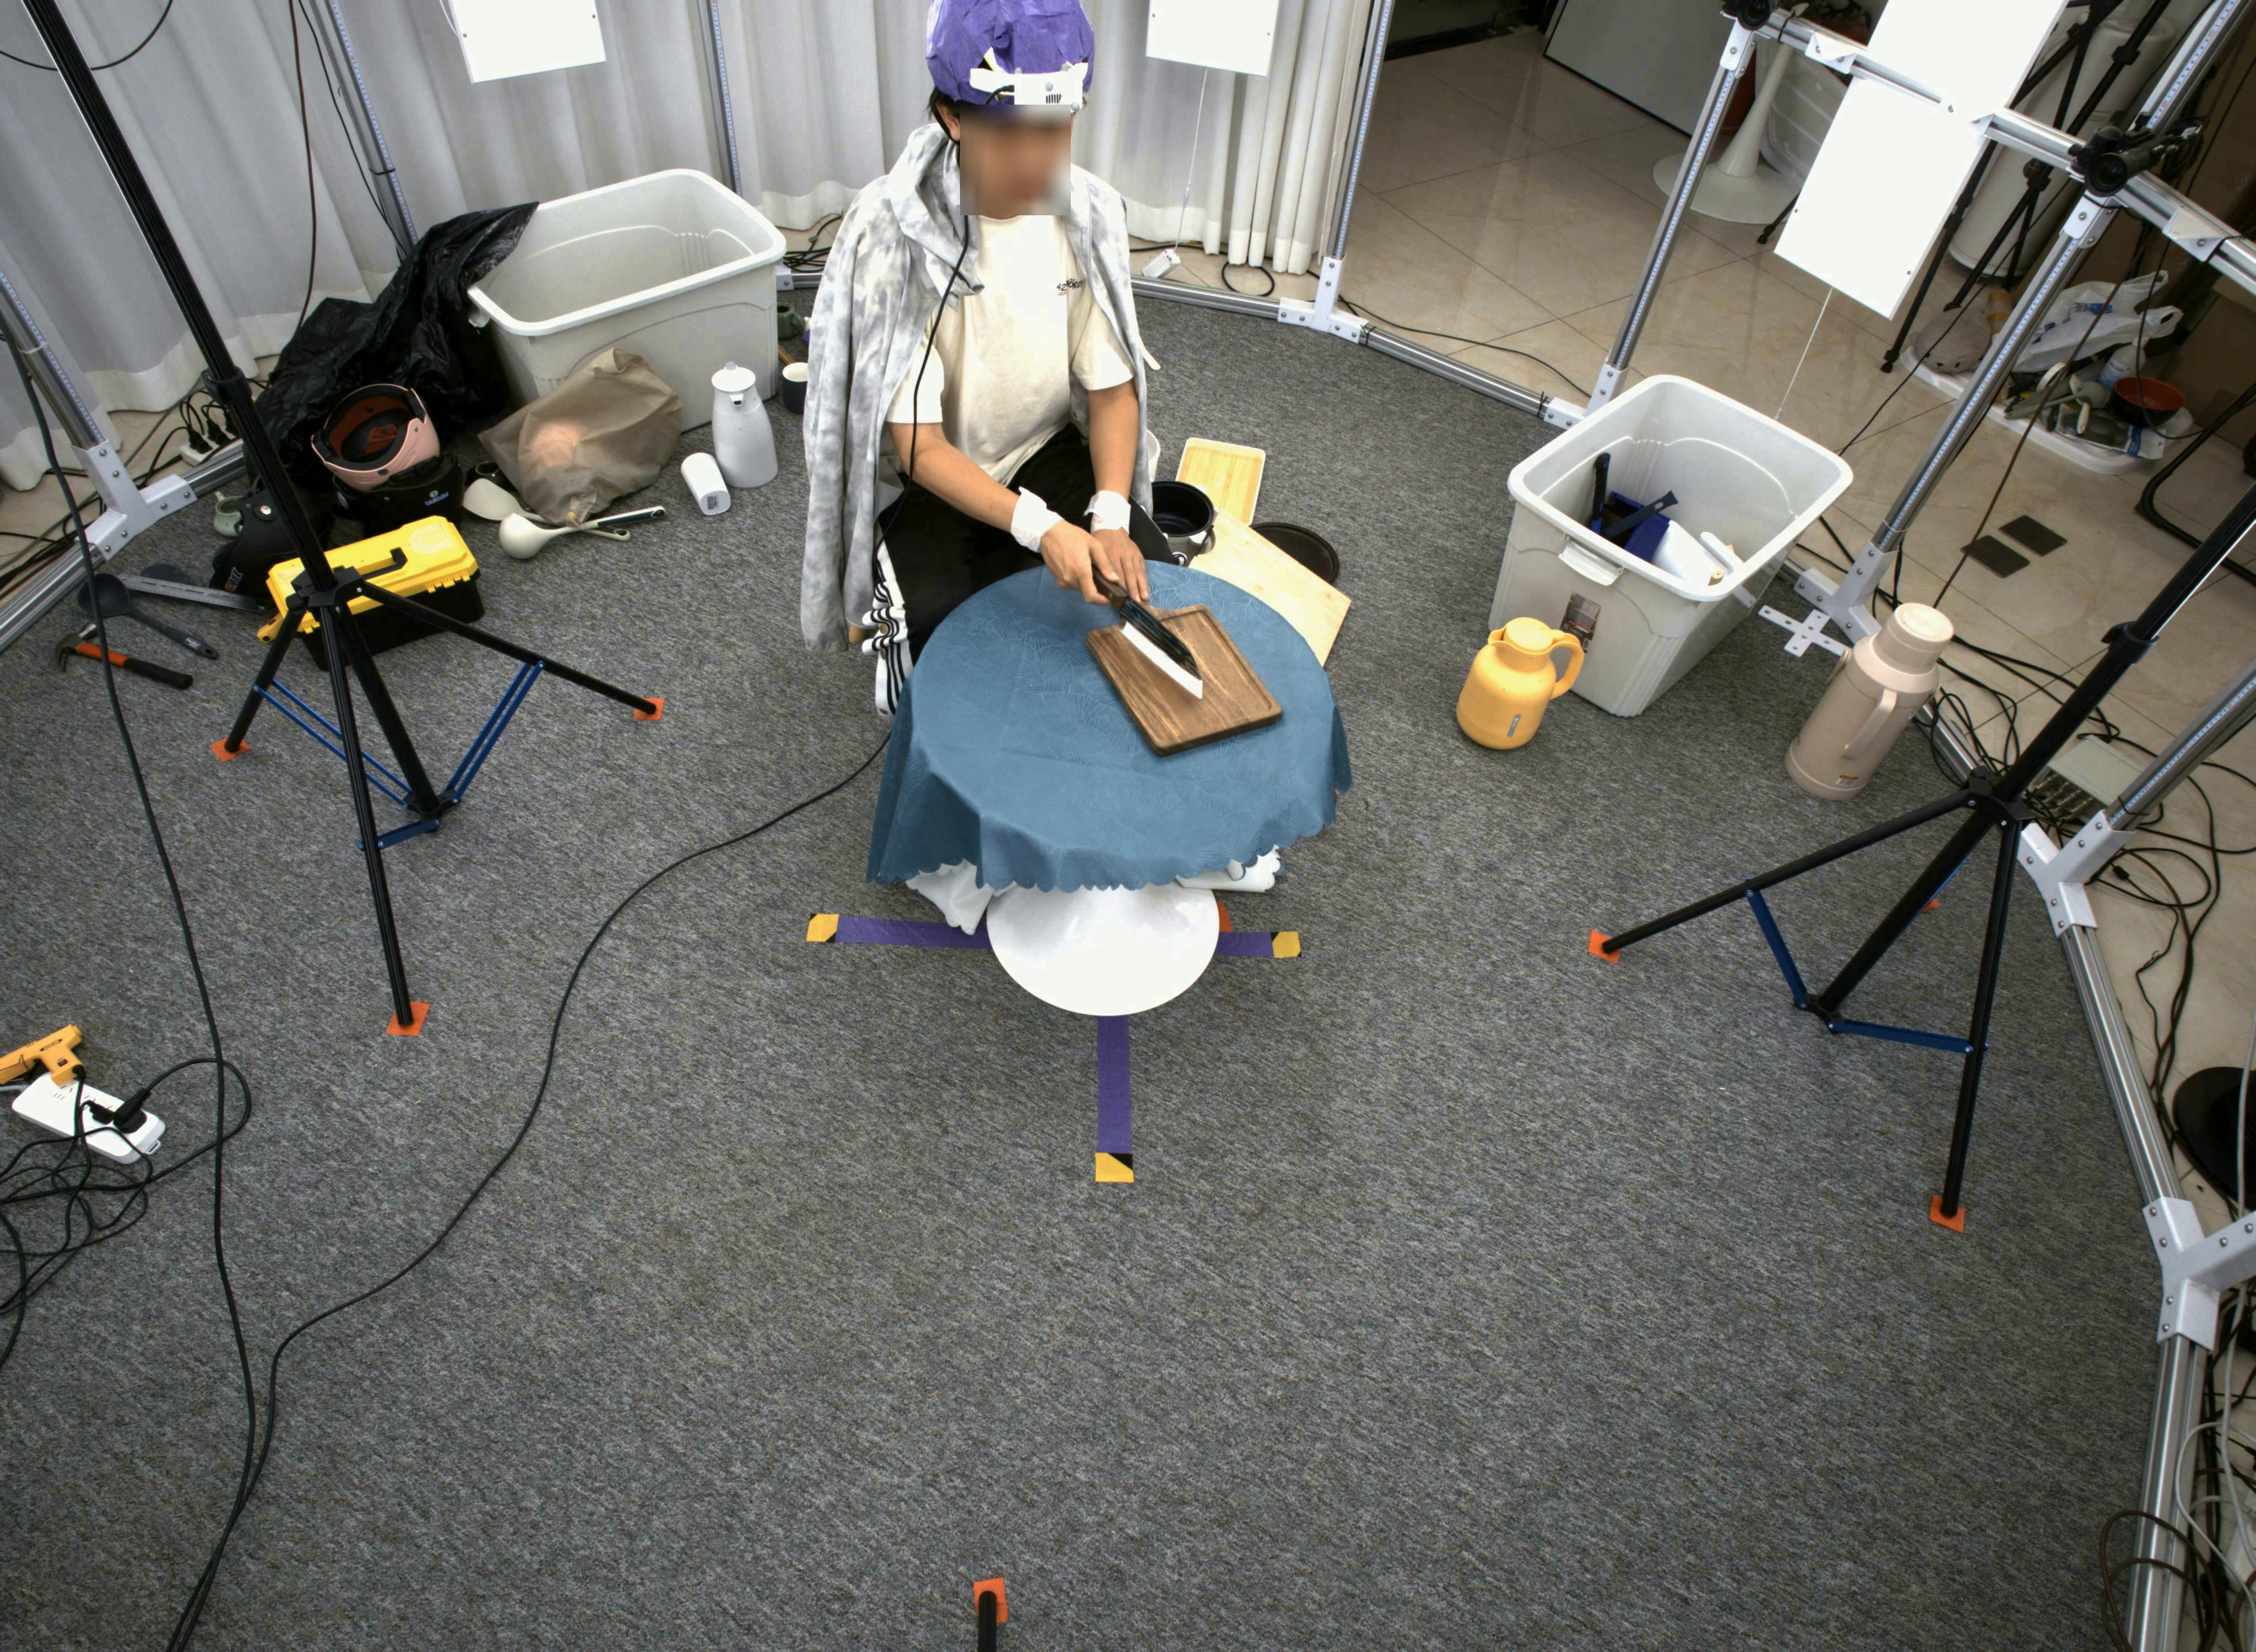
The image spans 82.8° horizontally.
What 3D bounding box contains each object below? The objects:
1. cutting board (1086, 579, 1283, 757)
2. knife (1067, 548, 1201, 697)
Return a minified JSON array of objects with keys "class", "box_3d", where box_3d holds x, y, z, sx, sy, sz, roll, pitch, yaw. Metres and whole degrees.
[{"class":"cutting board","box_3d":[0.057,-0.250,1.872,0.201,0.022,0.360,-18,52,-17]},{"class":"knife","box_3d":[0.009,-0.293,1.844,0.024,0.066,0.304,-27,60,-34]}]
